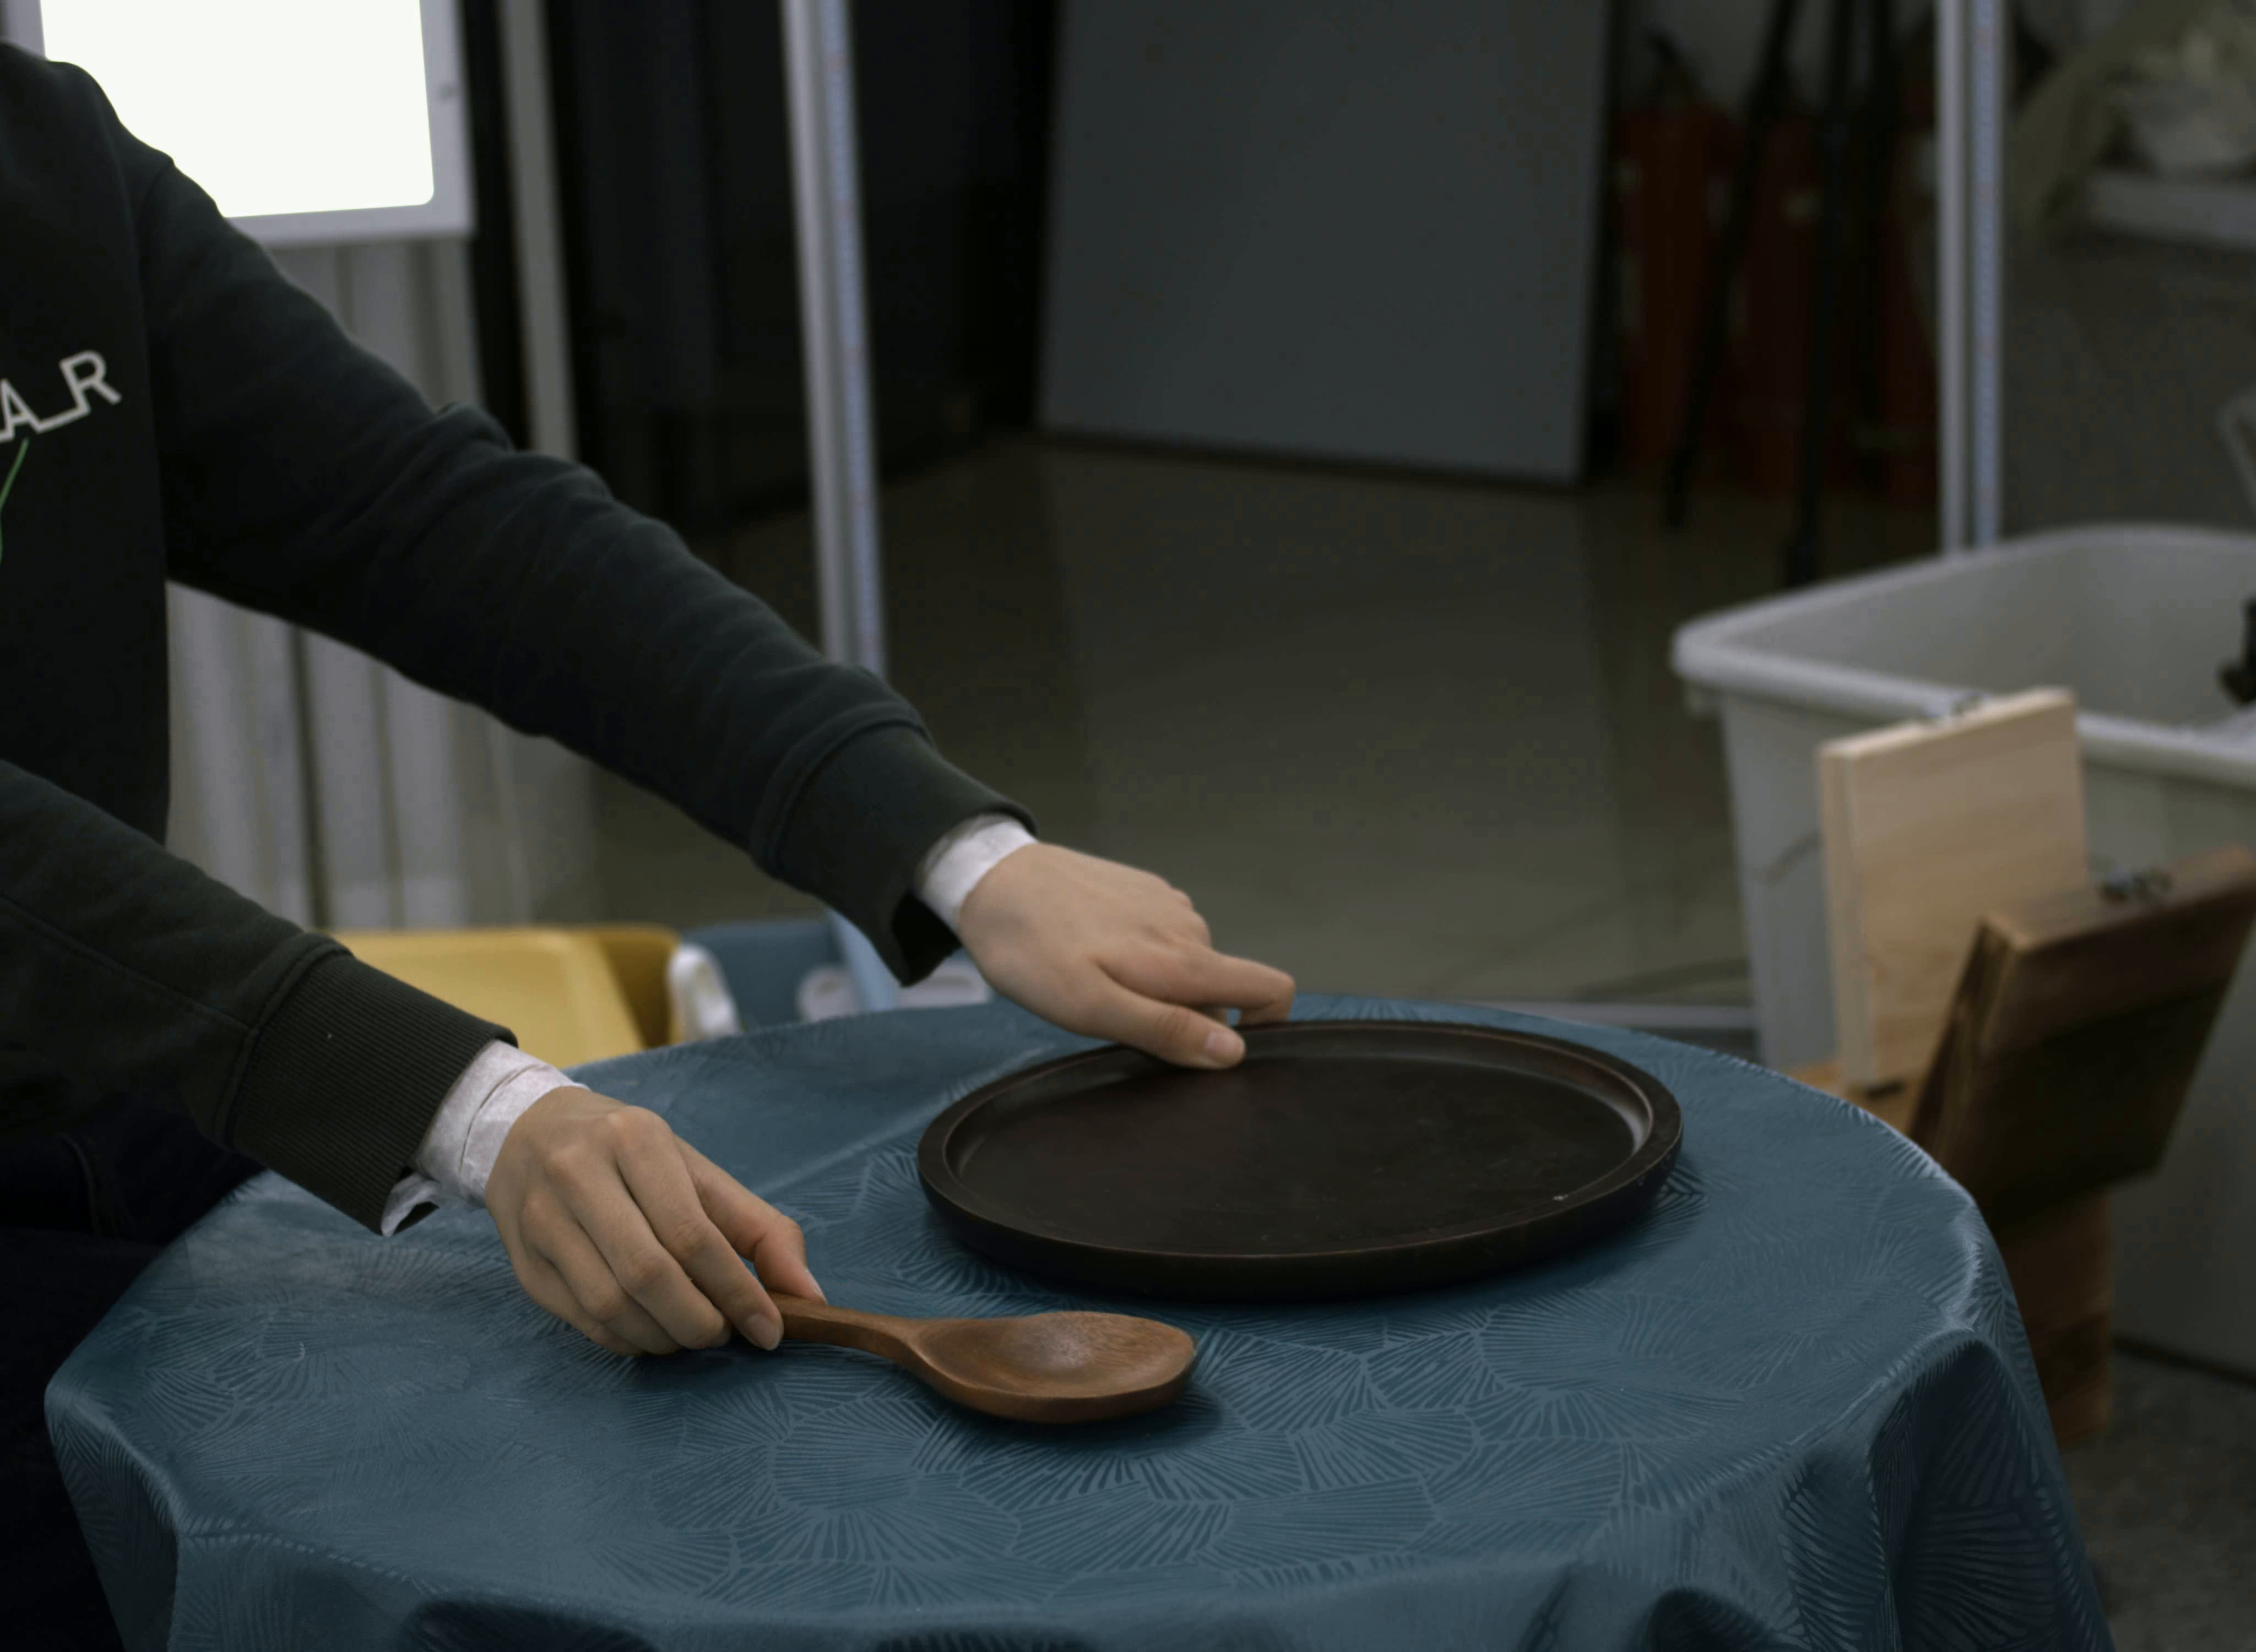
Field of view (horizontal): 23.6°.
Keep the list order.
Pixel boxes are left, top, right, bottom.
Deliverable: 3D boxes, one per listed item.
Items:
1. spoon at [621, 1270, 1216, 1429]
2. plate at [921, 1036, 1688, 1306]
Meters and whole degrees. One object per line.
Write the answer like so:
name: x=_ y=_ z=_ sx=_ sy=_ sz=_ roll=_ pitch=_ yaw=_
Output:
spoon: x=-0.067 y=0.155 z=1.617 sx=0.217 sy=0.017 sz=0.074 roll=7 pitch=18 yaw=37
plate: x=0.057 y=0.110 z=1.756 sx=0.251 sy=0.029 sz=0.255 roll=-3 pitch=14 yaw=0
